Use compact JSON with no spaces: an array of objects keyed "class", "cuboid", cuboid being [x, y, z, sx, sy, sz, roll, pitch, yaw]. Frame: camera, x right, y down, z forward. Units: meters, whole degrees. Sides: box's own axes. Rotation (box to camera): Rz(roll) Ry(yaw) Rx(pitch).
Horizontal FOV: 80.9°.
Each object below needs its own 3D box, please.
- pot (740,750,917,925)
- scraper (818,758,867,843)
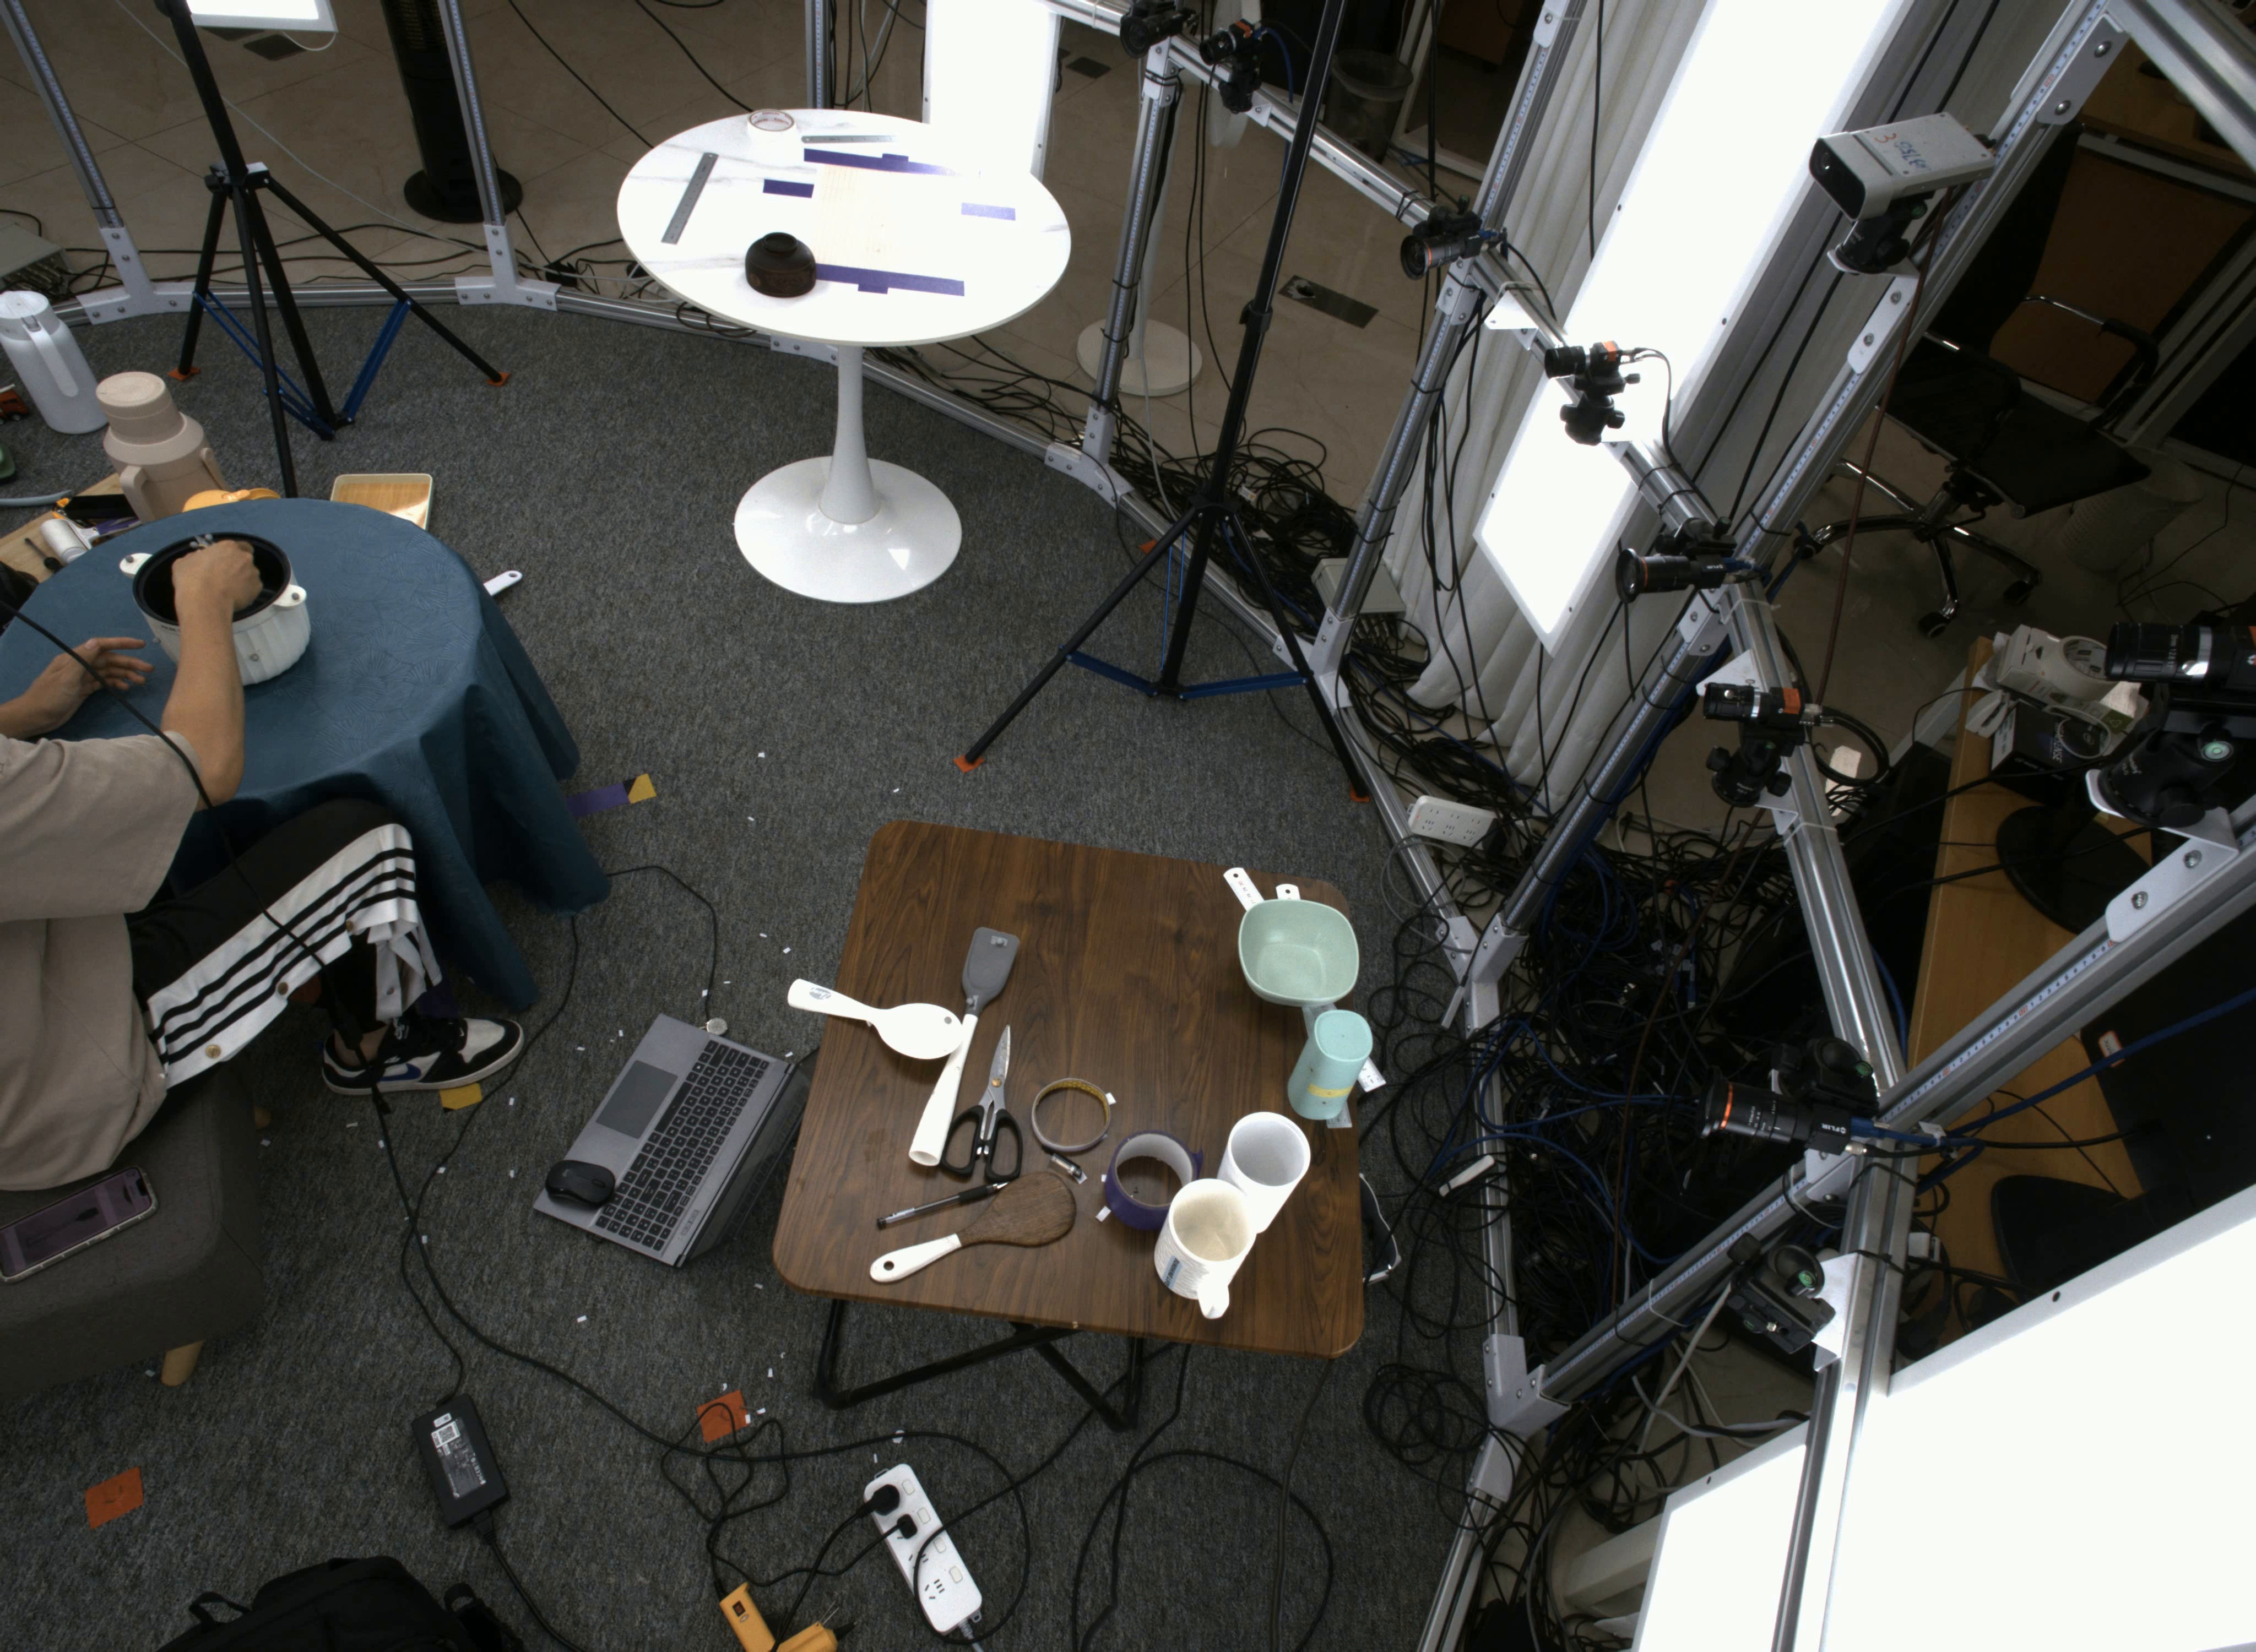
[{"class":"pot","cuboid":[-0.380,0.020,1.640,0.237,0.146,0.189,22,48,6]},{"class":"scraper","cuboid":[-0.335,-0.030,1.524,0.015,0.040,0.165,-43,39,6]}]
